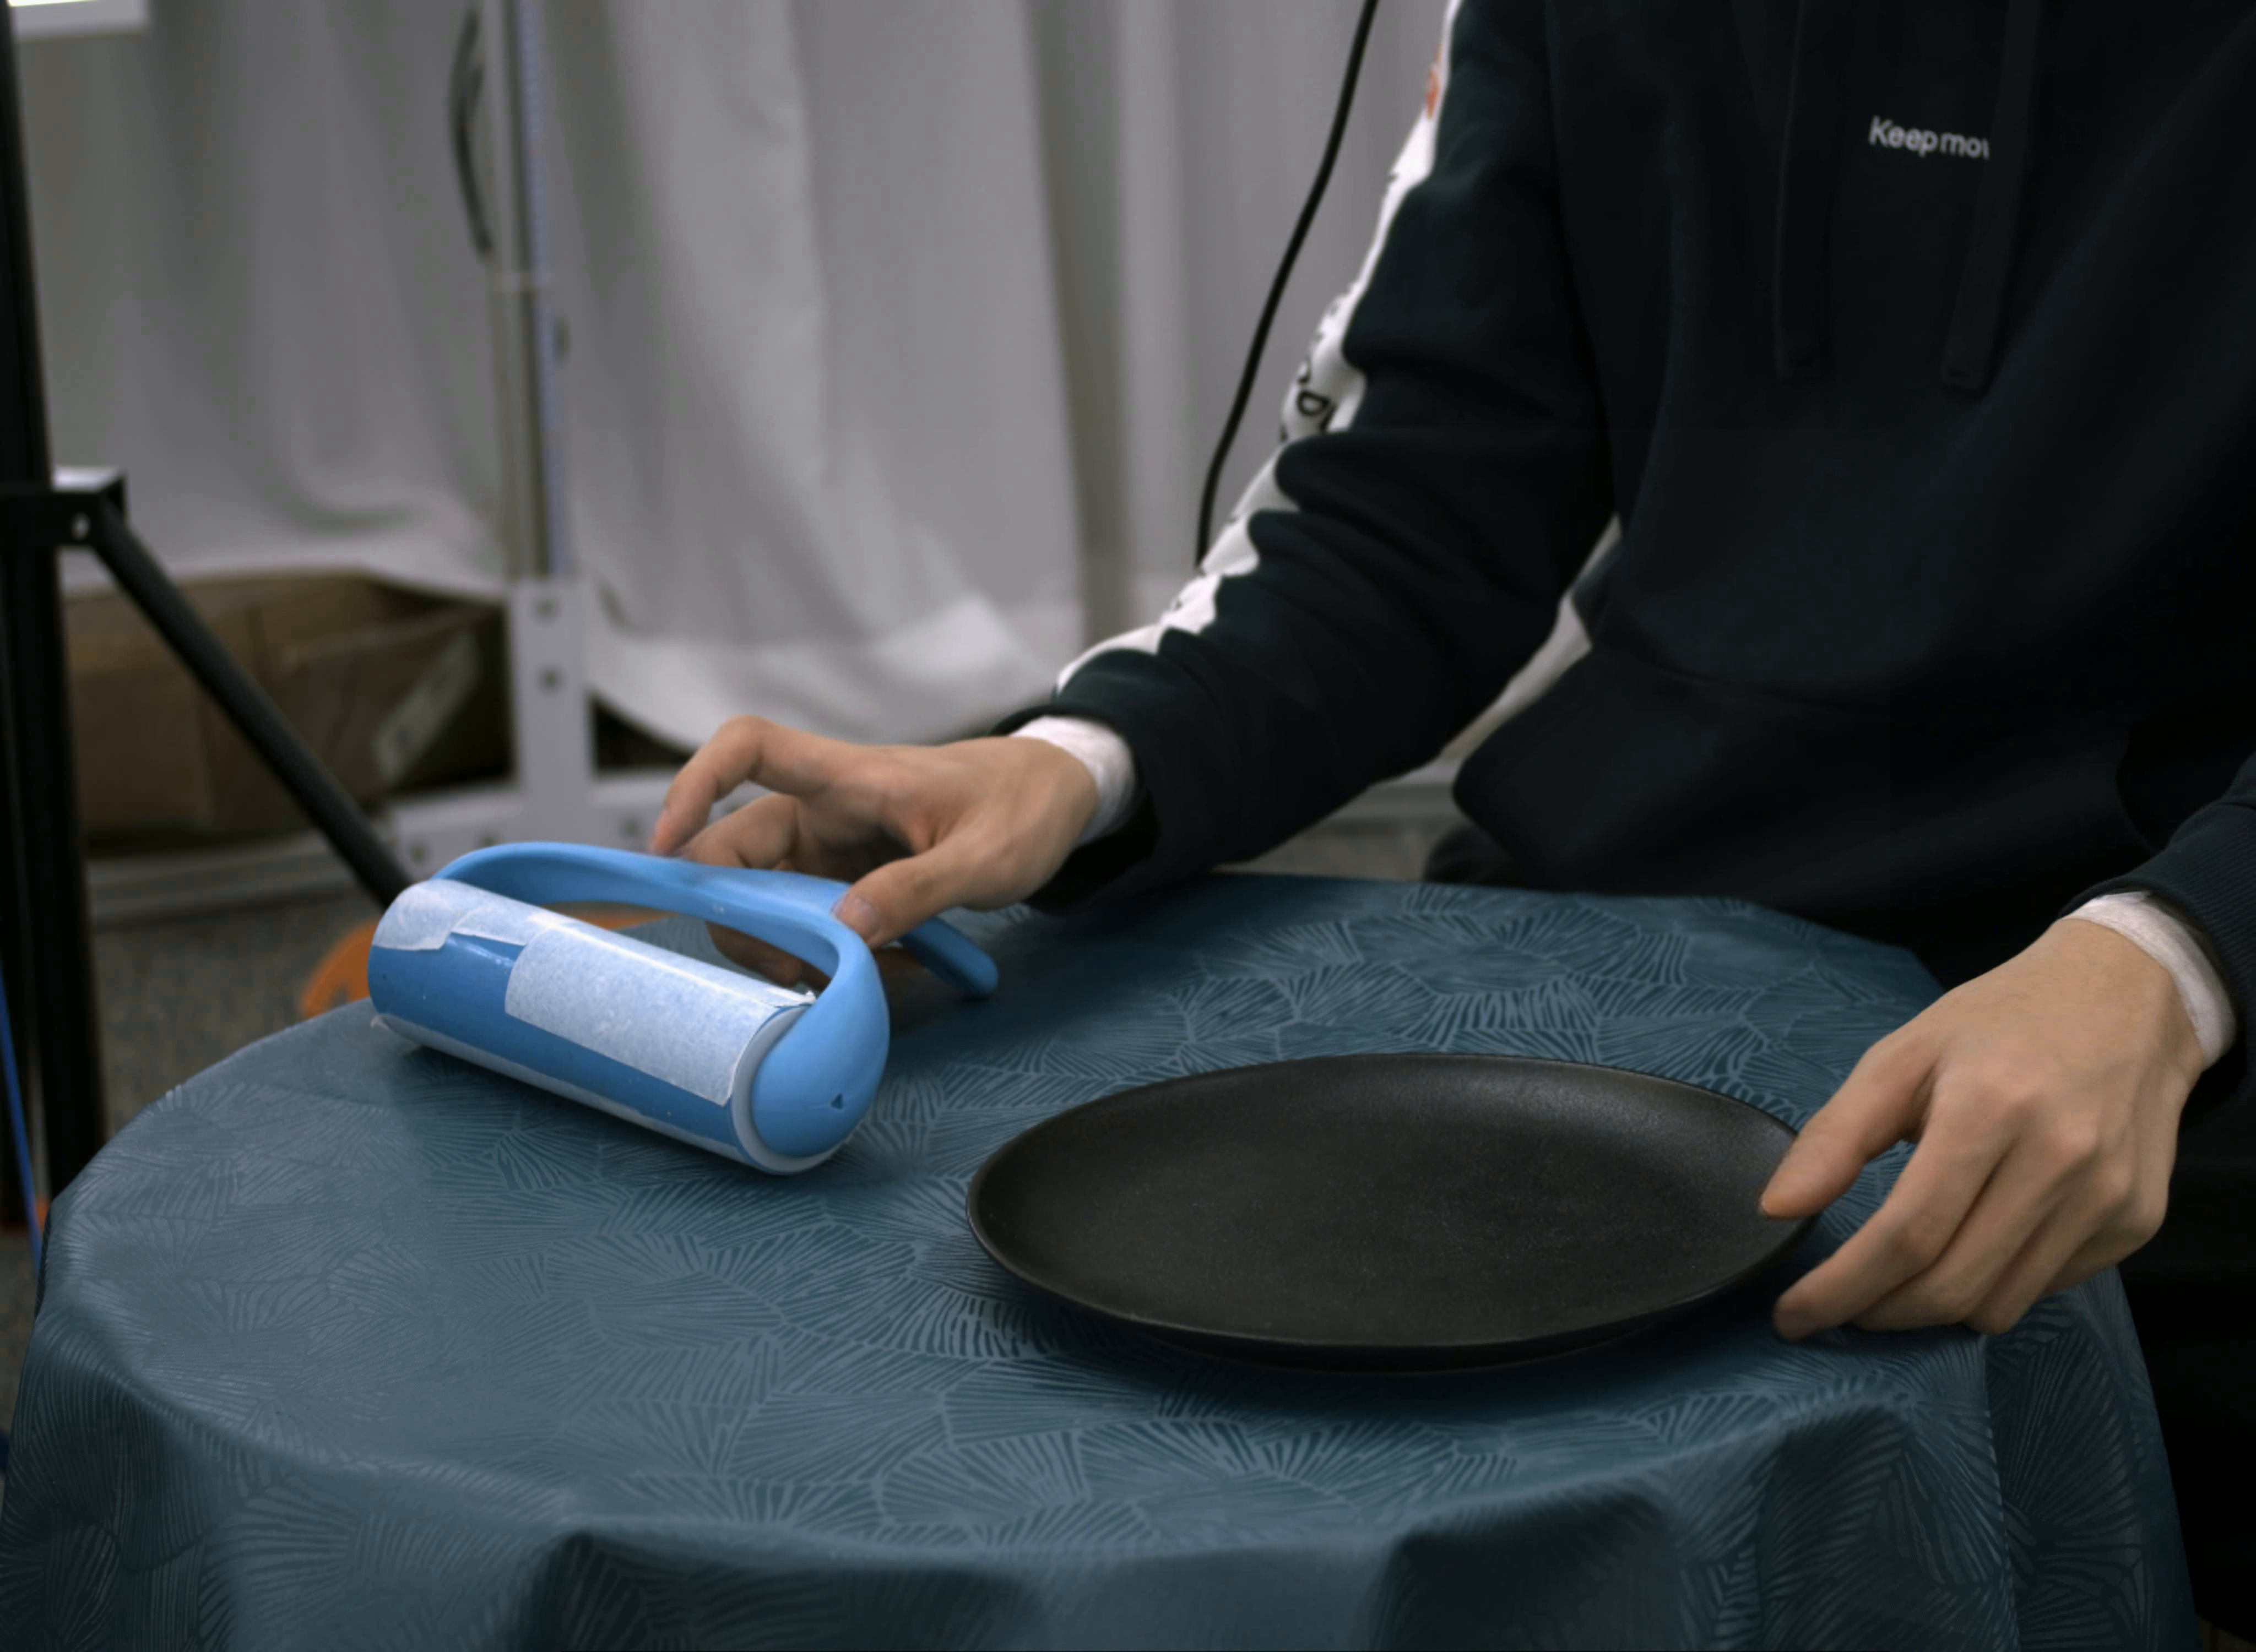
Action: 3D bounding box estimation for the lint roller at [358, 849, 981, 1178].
[{"bbox_3d":[-0.120,0.048,1.689,0.176,0.068,0.234,-17,20,-41],"label":"lint roller"}]

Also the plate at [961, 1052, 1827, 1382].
[{"bbox_3d":[0.075,0.113,1.488,0.243,0.023,0.245,-3,16,-1],"label":"plate"}]
